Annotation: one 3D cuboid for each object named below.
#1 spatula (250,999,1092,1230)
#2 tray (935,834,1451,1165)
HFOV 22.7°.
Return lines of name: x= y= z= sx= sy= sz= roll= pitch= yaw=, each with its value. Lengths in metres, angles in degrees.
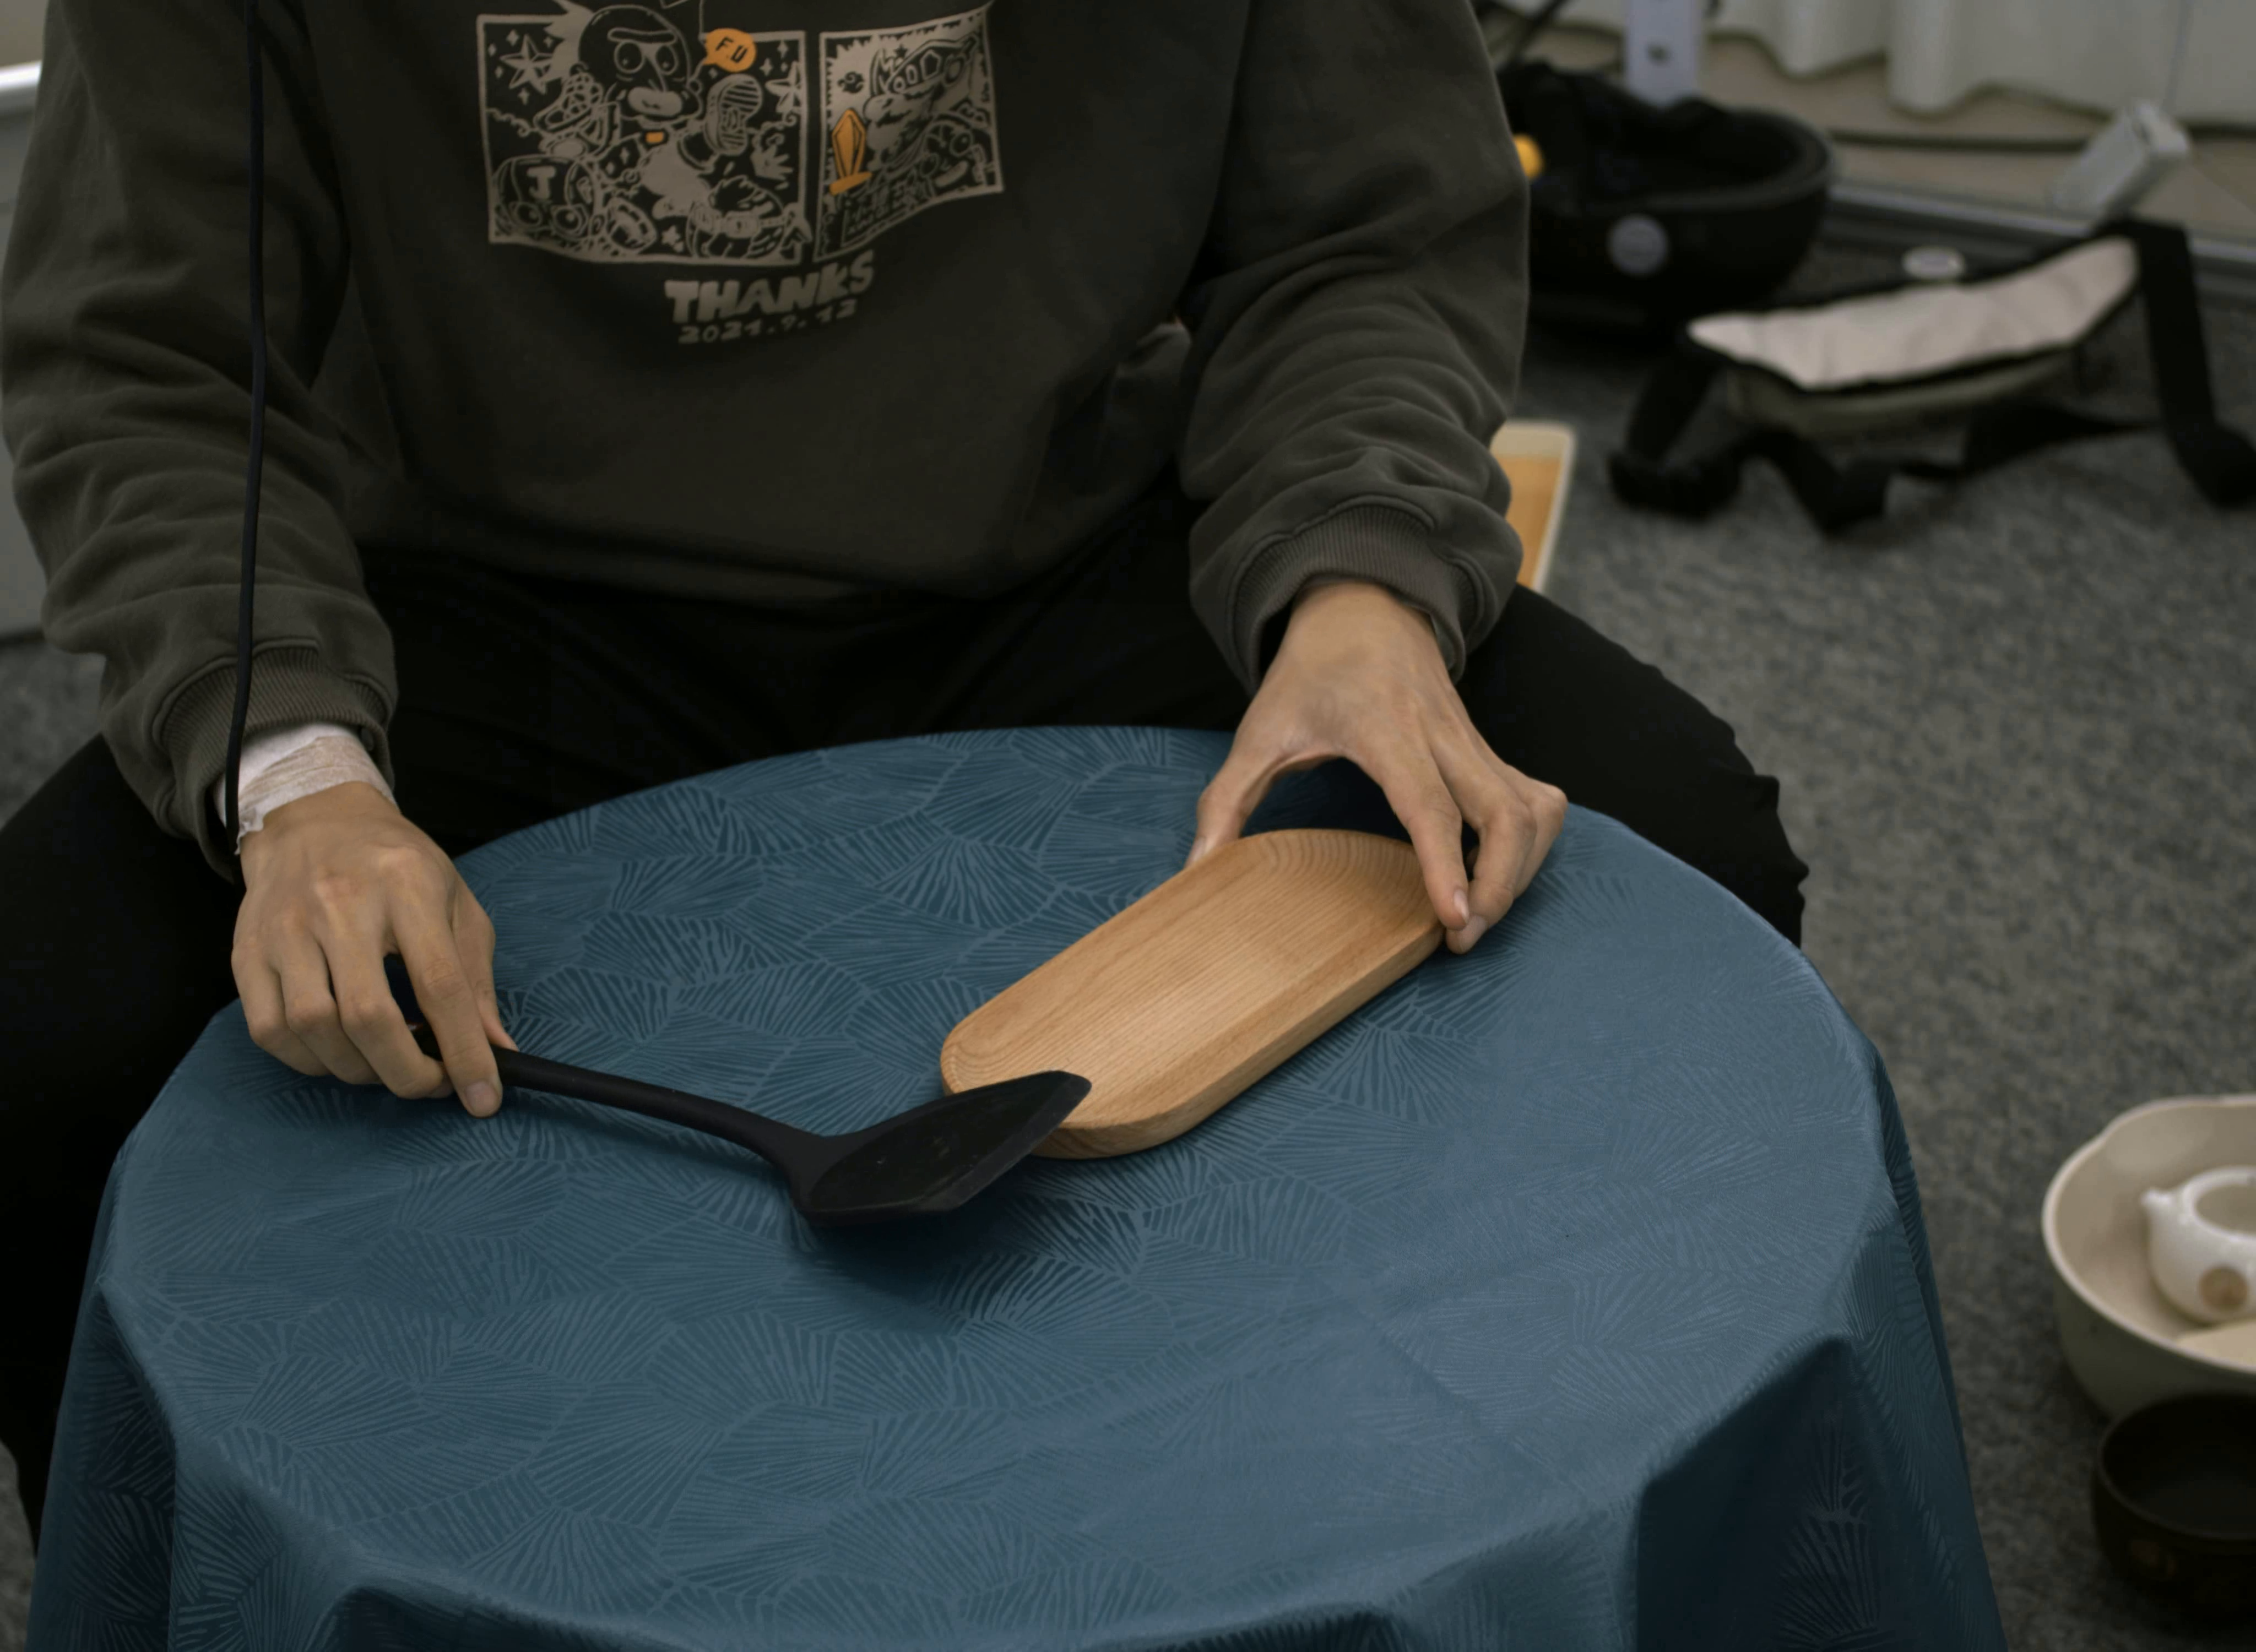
spatula: x=-0.168 y=0.087 z=1.902 sx=0.324 sy=0.040 sz=0.101 roll=14 pitch=29 yaw=27
tray: x=0.025 y=0.059 z=1.961 sx=0.101 sy=0.020 sz=0.234 roll=17 pitch=35 yaw=34
